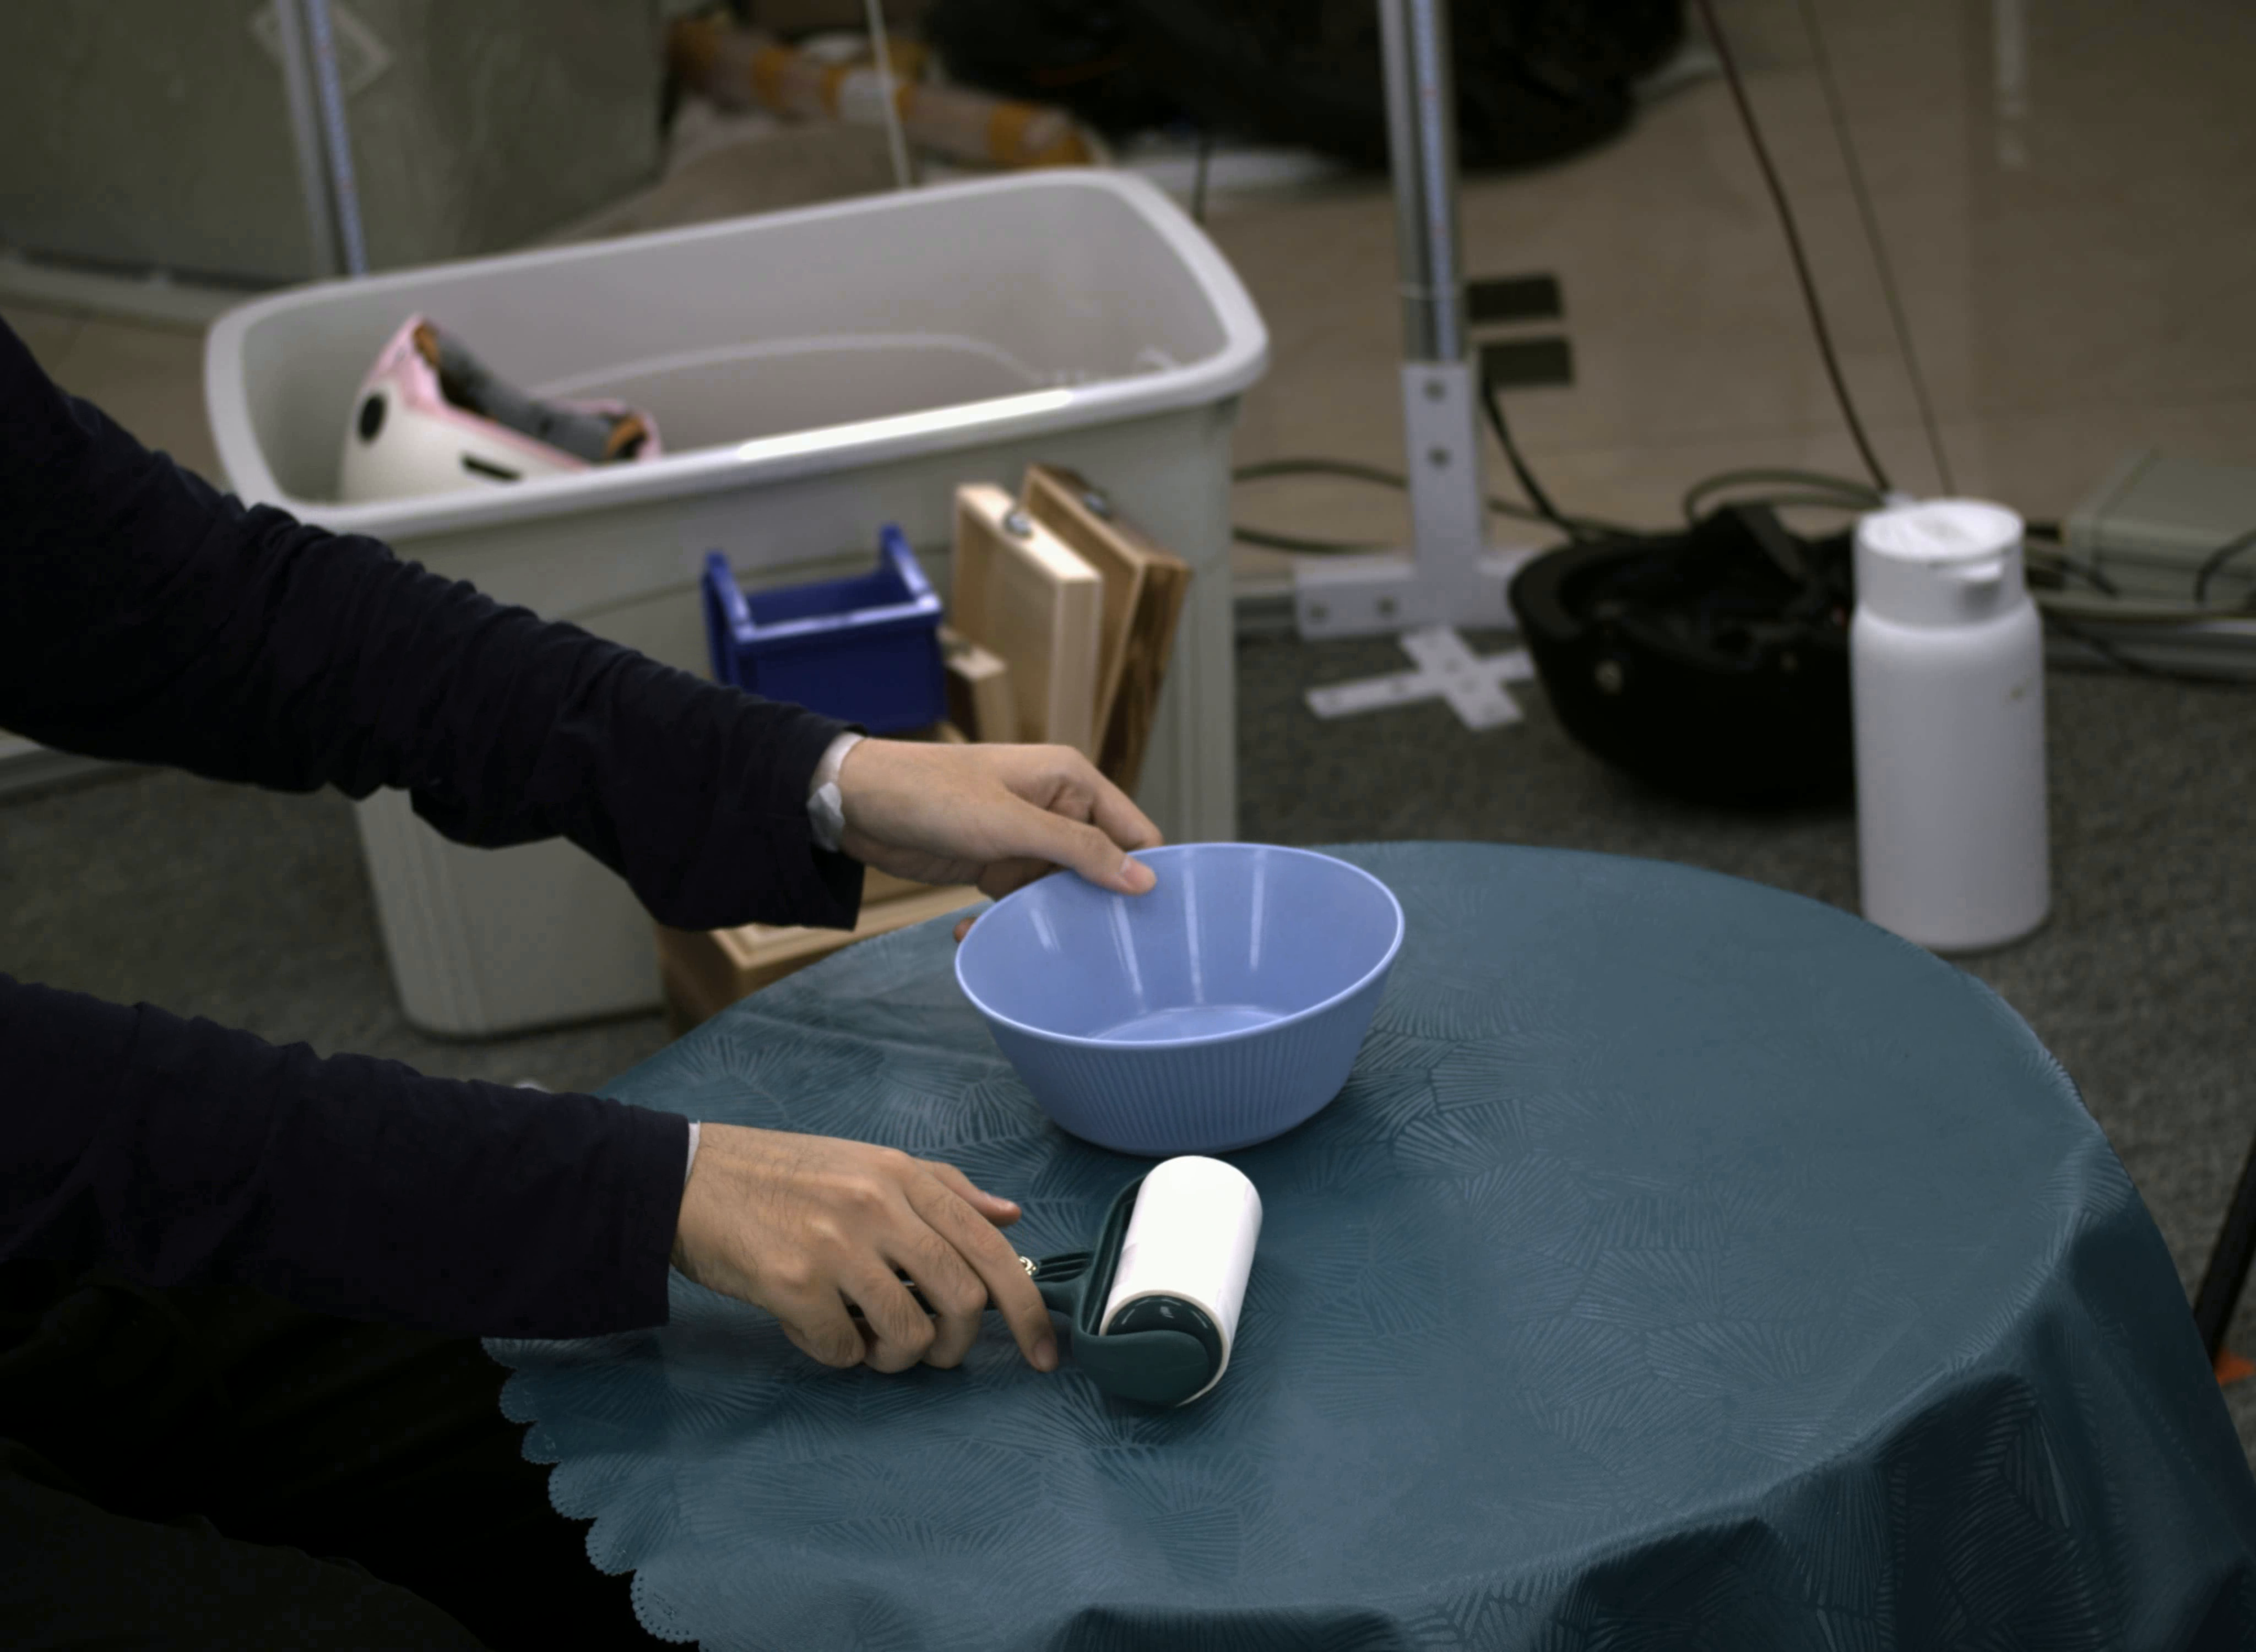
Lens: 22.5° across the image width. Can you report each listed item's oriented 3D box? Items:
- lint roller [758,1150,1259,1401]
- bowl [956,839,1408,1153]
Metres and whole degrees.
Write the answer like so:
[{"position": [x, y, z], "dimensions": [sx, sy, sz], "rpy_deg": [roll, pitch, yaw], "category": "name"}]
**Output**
[{"position": [-0.047, 0.162, 2.048], "dimensions": [0.180, 0.049, 0.132], "rpy_deg": [0, 26, 8], "category": "lint roller"}, {"position": [0.024, 0.072, 2.204], "dimensions": [0.176, 0.071, 0.173], "rpy_deg": [-5, 25, 3], "category": "bowl"}]
